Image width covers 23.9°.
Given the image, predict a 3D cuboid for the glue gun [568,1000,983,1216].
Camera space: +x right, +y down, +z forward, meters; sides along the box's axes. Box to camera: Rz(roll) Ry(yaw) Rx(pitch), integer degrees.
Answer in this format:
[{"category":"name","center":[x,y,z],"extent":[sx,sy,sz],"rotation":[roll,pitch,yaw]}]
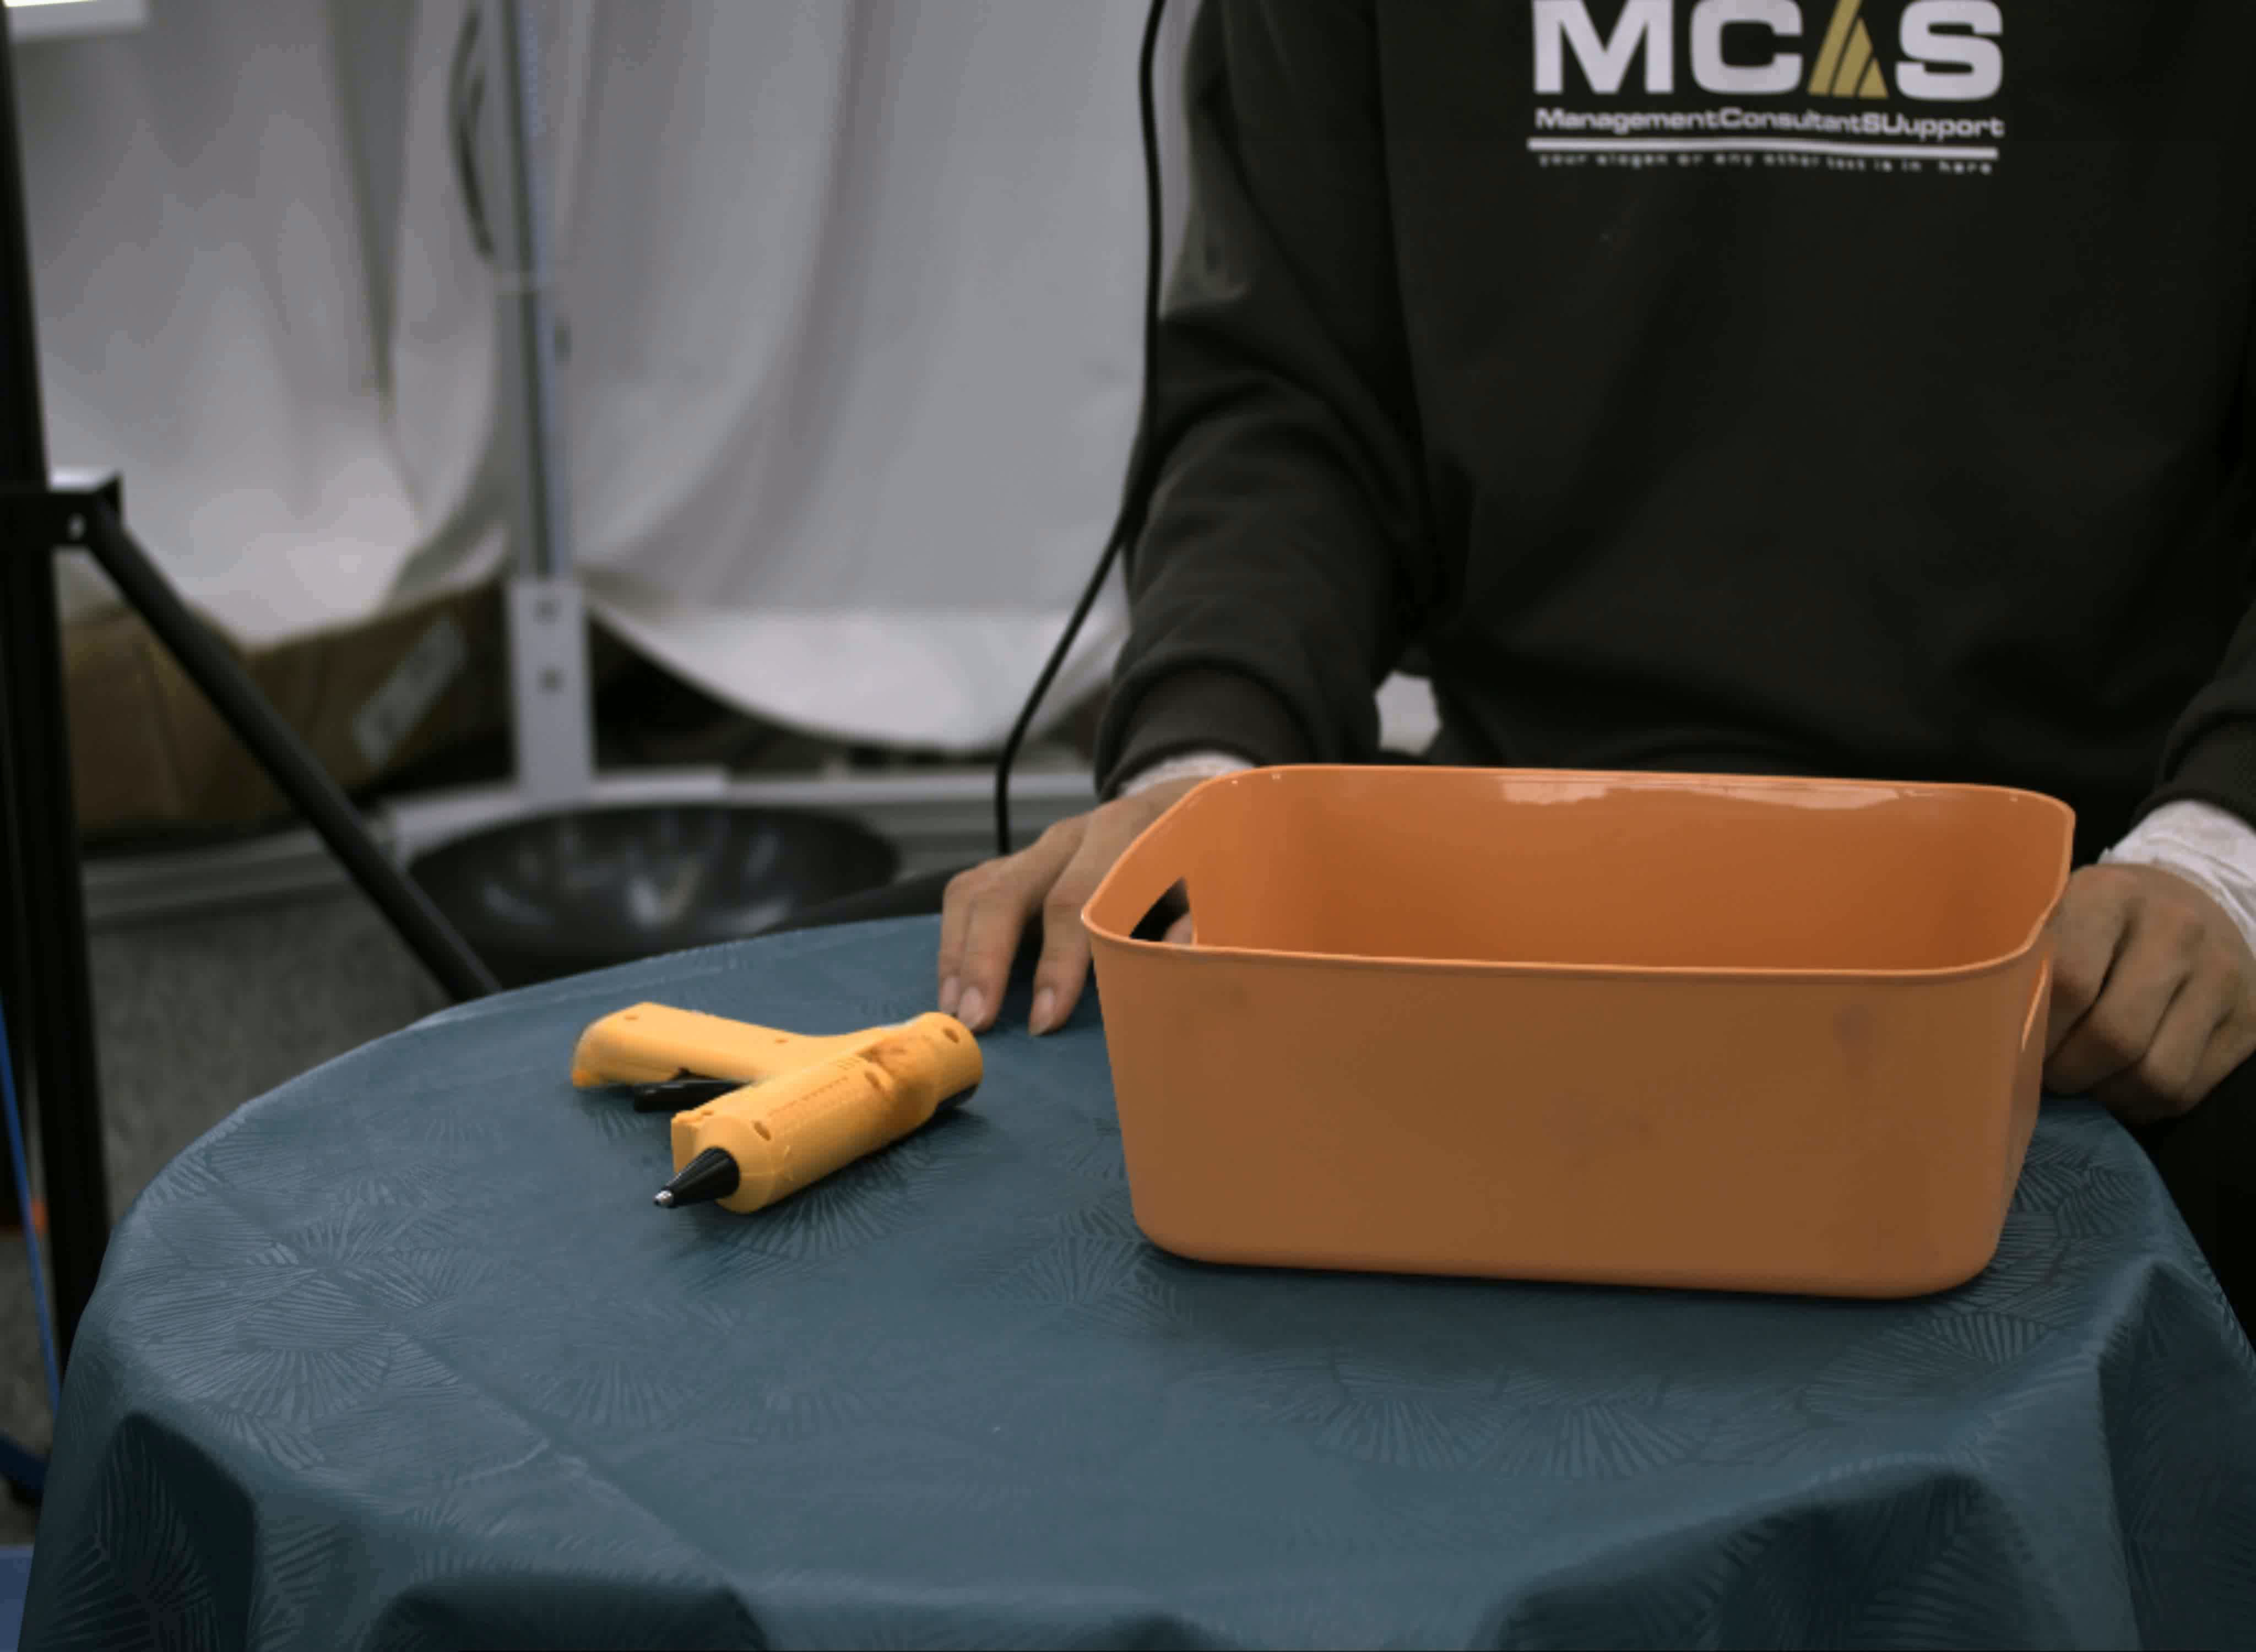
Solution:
[{"category":"glue gun","center":[-0.134,0.086,1.607],"extent":[0.135,0.031,0.149],"rotation":[4,18,28]}]

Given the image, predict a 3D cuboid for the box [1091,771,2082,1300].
[{"category":"box","center":[0.135,0.058,1.524],"extent":[0.275,0.102,0.198],"rotation":[2,16,16]}]
